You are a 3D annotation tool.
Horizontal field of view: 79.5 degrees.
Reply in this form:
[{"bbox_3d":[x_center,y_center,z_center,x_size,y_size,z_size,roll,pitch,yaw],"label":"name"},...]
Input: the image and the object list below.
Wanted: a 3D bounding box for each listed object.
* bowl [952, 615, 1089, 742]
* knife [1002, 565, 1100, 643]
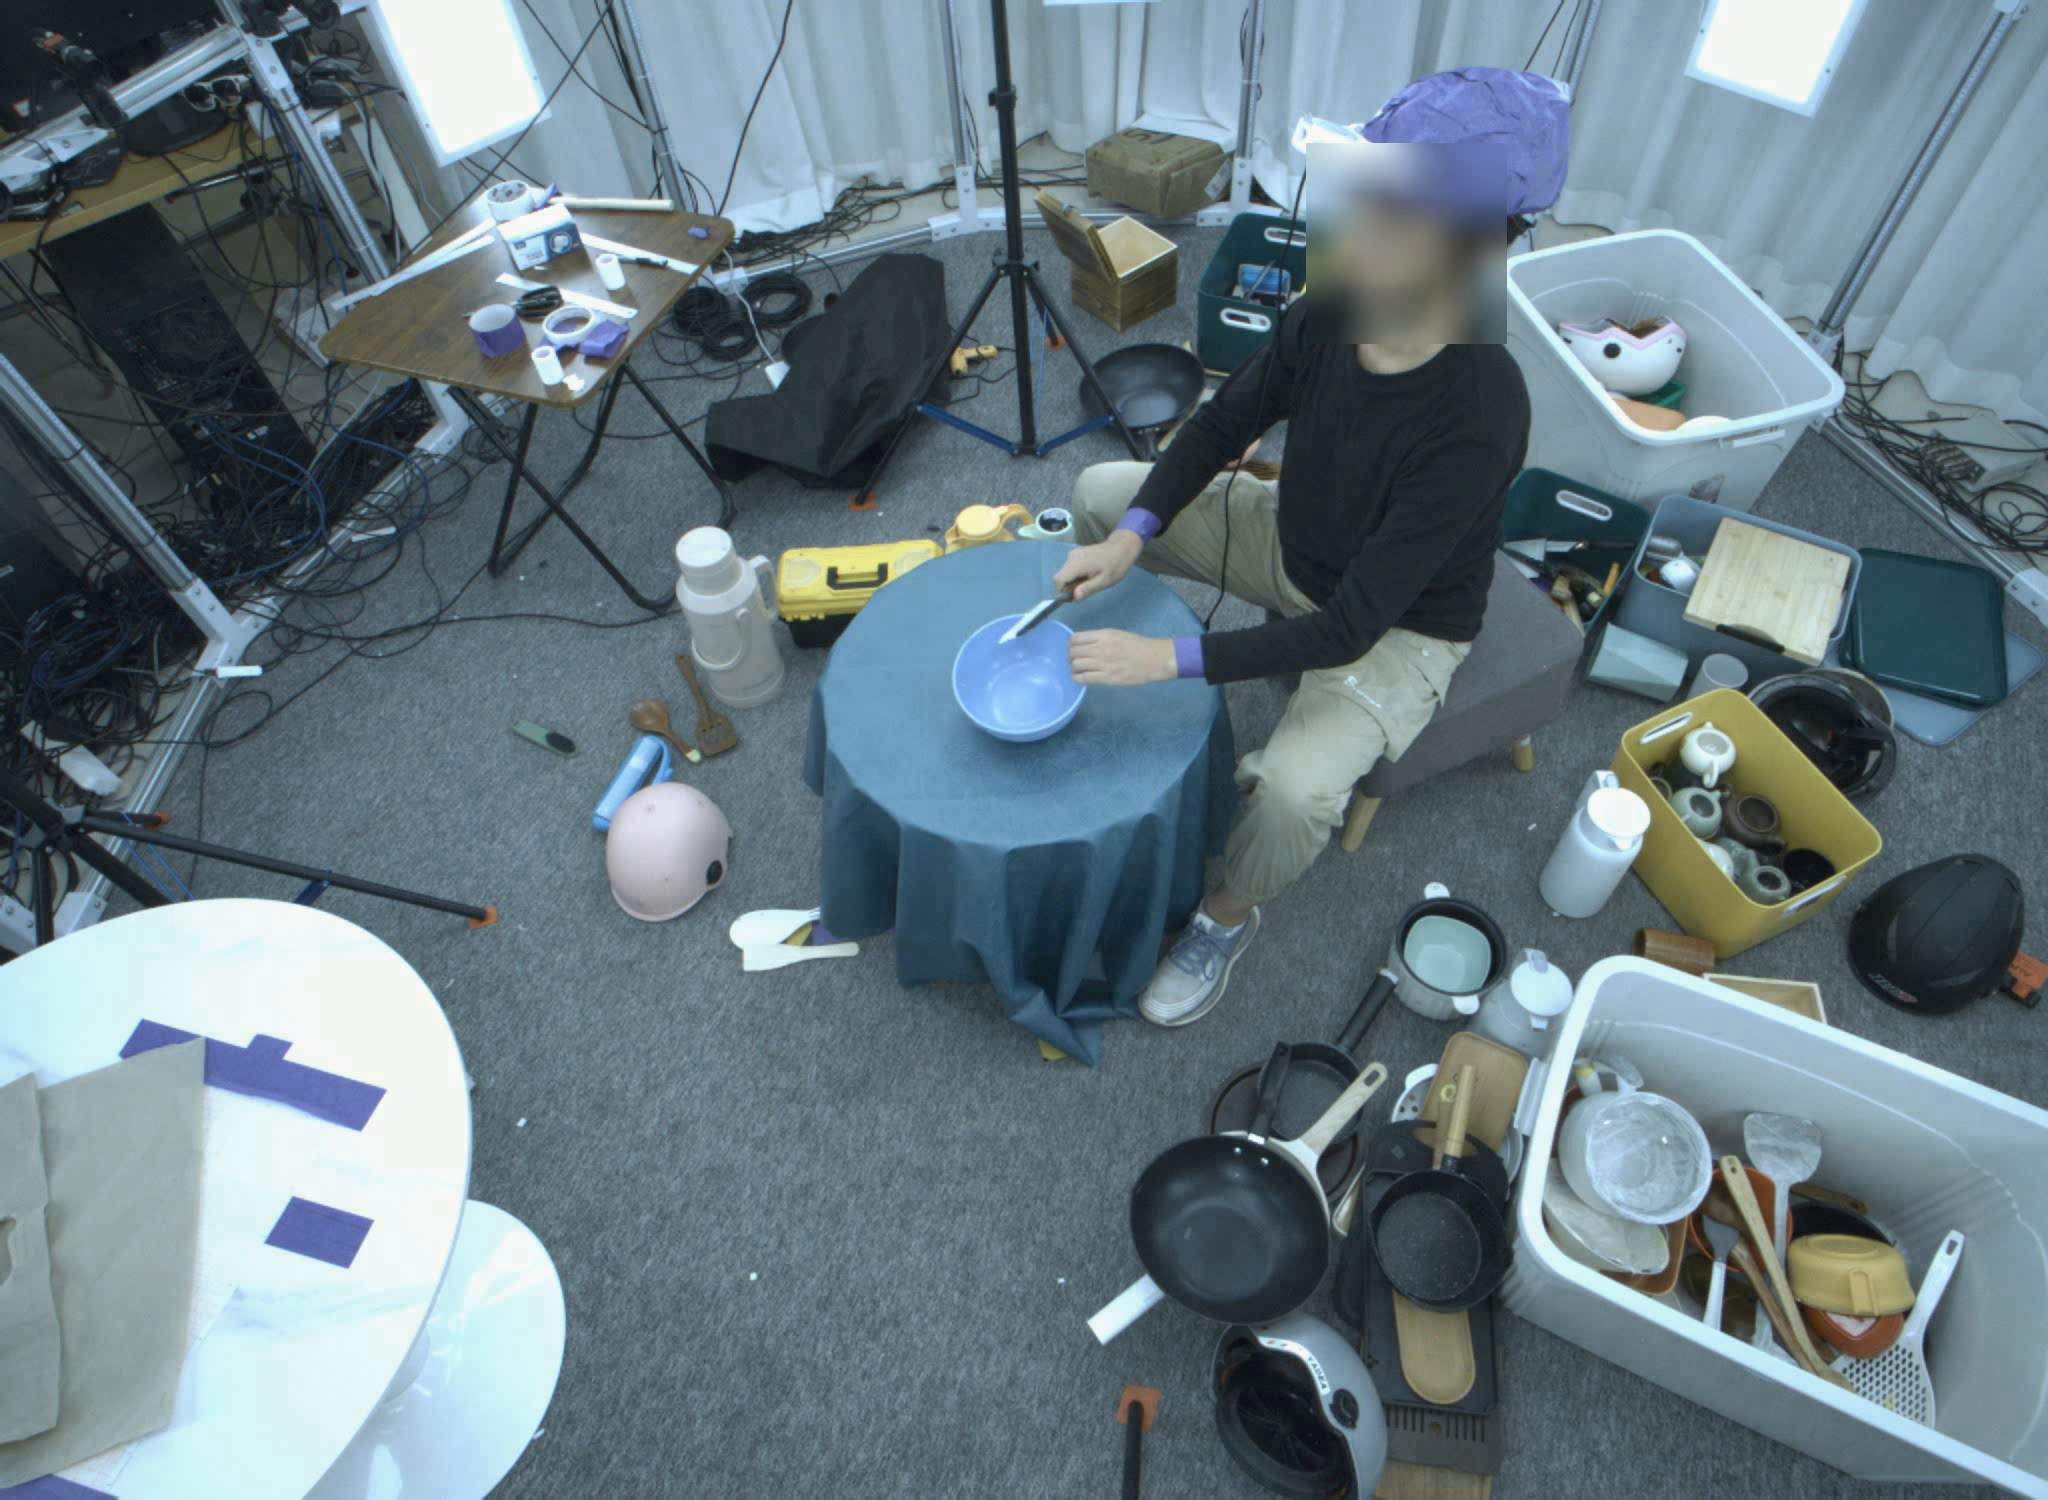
[{"bbox_3d":[-0.001,-0.089,1.782,0.196,0.096,0.195,-2,63,4],"label":"bowl"},{"bbox_3d":[0.042,-0.212,1.789,0.049,0.020,0.291,-5,24,34],"label":"knife"}]
